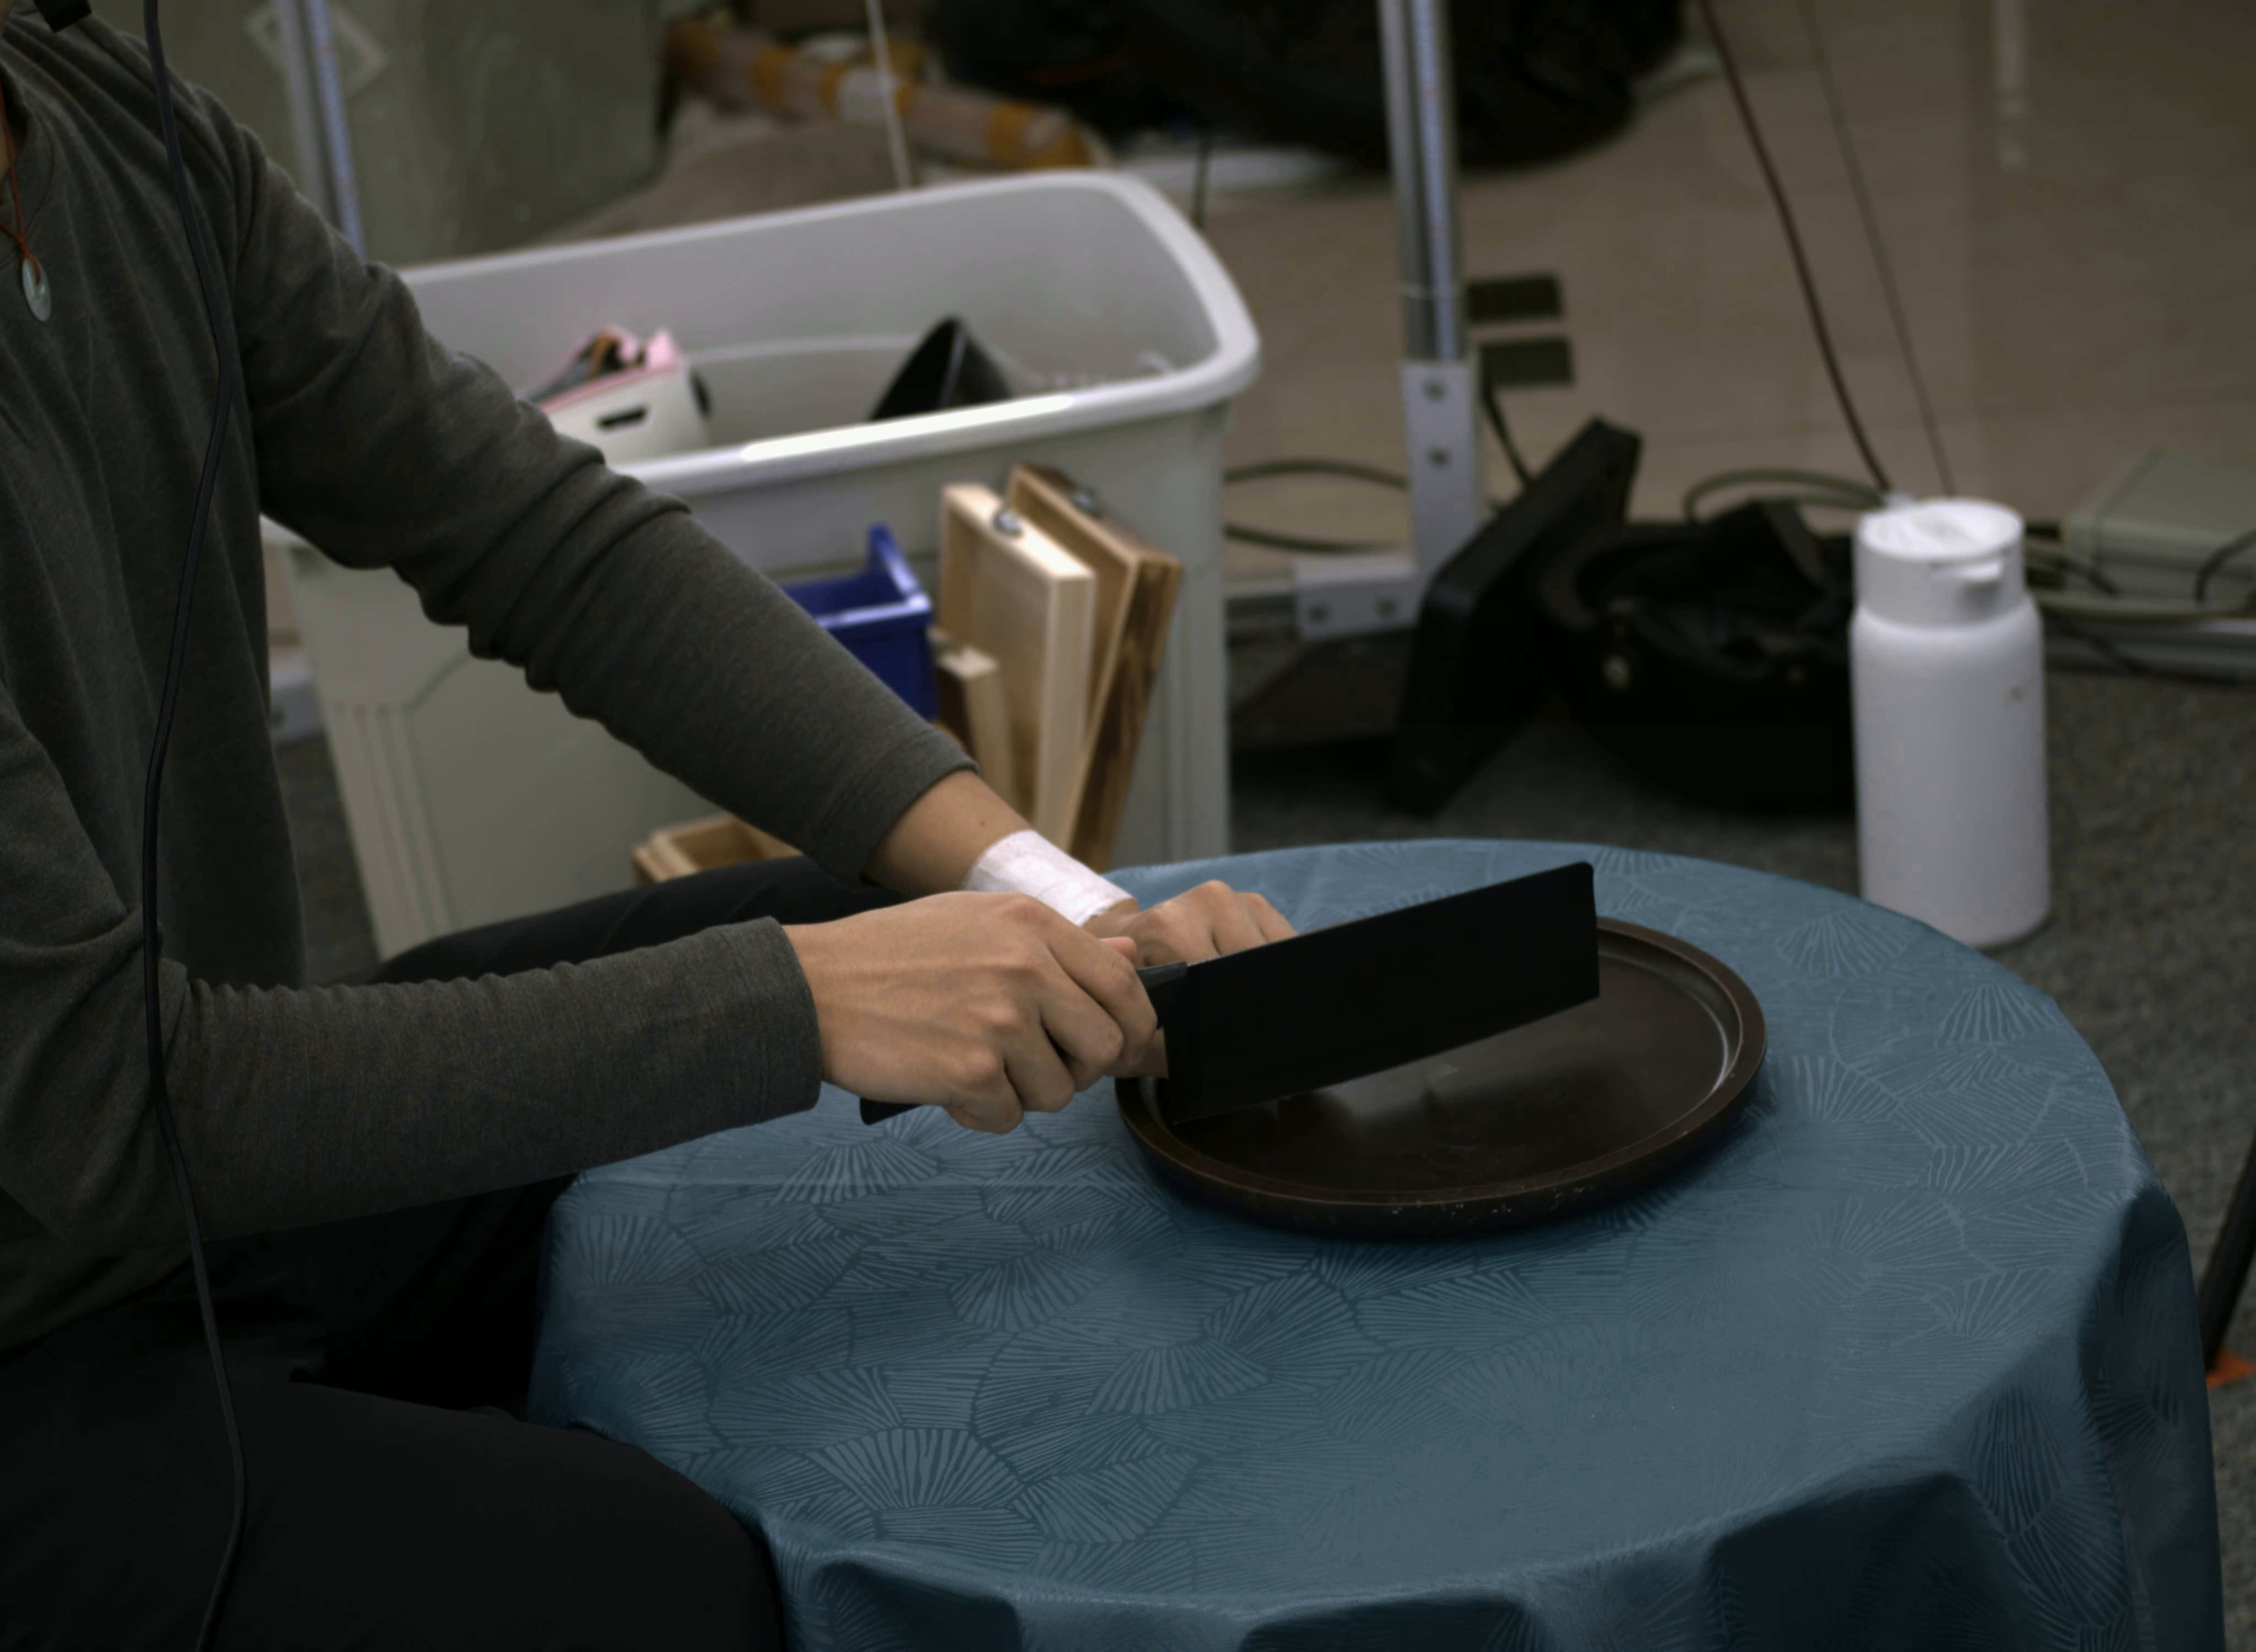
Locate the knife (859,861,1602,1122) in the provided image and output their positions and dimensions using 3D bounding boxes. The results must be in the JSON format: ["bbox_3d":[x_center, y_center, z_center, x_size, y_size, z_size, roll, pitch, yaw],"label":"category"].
[{"bbox_3d":[0.042,0.072,2.142,0.301,0.082,0.020,-10,26,-18],"label":"knife"}]

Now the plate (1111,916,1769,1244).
[{"bbox_3d":[0.120,0.096,2.189,0.254,0.029,0.251,-5,26,3],"label":"plate"}]
